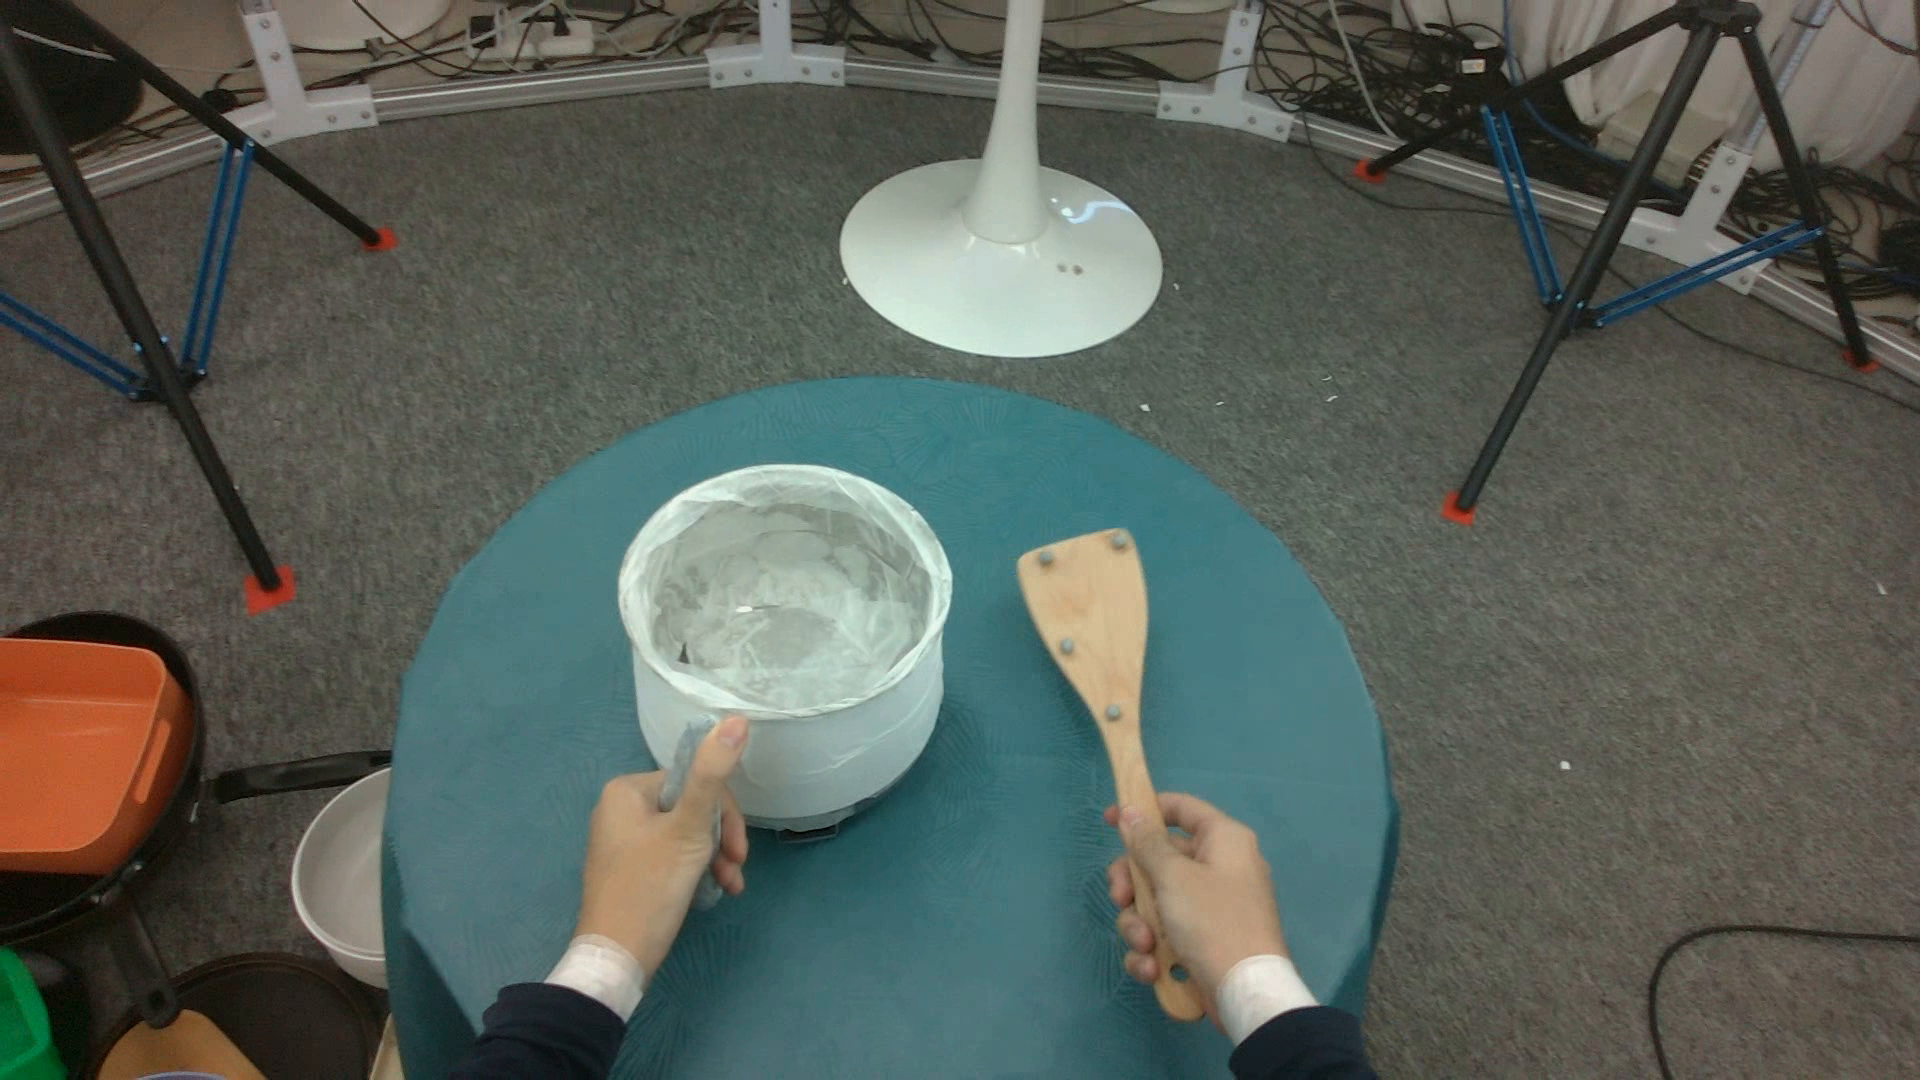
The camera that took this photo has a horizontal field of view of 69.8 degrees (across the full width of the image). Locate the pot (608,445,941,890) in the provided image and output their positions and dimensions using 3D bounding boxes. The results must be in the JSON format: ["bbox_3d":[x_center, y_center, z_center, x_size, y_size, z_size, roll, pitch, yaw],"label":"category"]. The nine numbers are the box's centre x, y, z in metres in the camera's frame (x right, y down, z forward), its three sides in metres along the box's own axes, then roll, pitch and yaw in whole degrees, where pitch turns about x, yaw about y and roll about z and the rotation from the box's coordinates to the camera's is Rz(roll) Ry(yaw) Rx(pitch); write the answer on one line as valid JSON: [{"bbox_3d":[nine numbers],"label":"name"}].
[{"bbox_3d":[-0.111,0.072,0.762,0.178,0.136,0.235,16,47,9],"label":"pot"}]

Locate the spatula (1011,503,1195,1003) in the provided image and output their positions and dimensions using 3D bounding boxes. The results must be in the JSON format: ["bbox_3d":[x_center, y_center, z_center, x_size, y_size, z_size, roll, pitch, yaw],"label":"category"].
[{"bbox_3d":[0.085,0.100,0.766,0.080,0.016,0.329,-4,46,-4],"label":"spatula"}]
